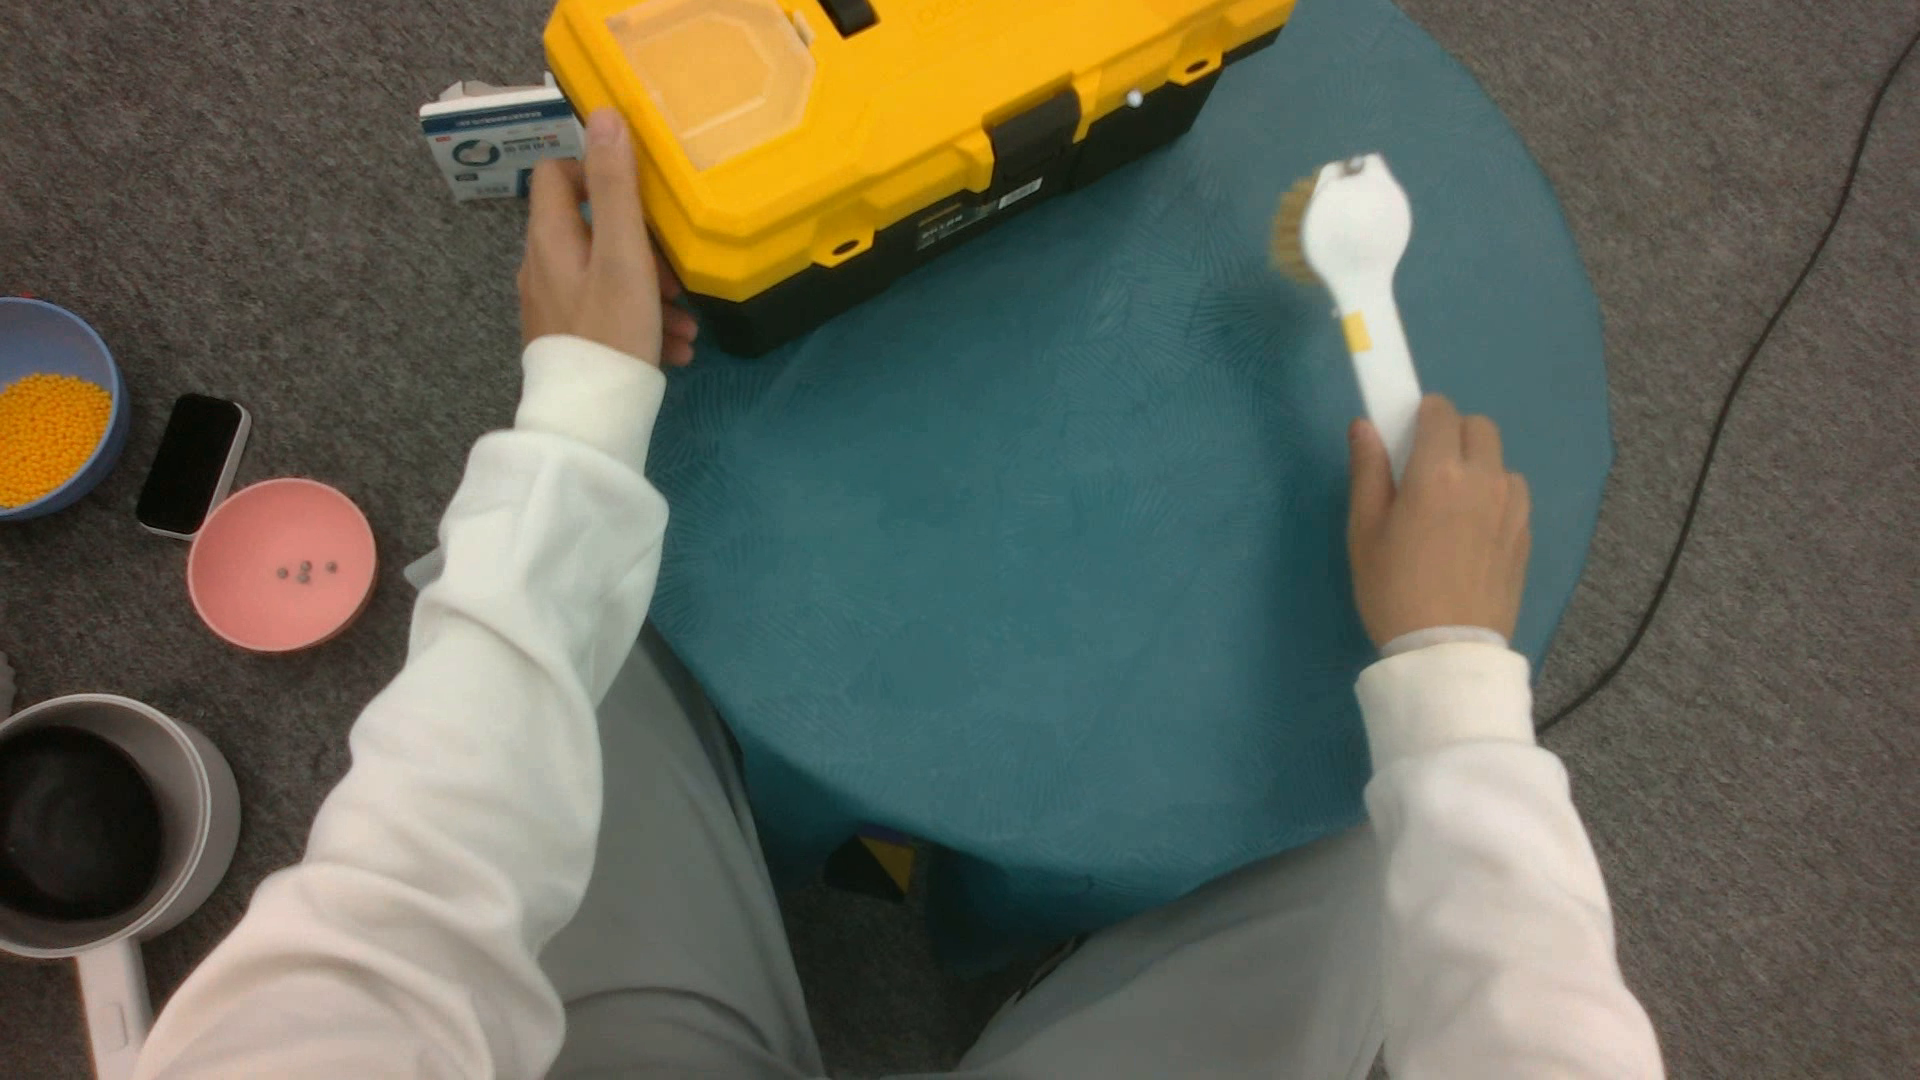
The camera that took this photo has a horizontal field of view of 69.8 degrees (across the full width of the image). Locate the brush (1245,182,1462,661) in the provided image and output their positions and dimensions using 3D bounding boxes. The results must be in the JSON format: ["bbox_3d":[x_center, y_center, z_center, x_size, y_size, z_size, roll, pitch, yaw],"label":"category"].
[{"bbox_3d":[0.218,-0.065,0.750,0.068,0.056,0.266,-16,90,3],"label":"brush"}]

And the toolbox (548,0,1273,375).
[{"bbox_3d":[-0.019,-0.240,0.733,0.352,0.172,0.181,-31,79,-13],"label":"toolbox"}]
